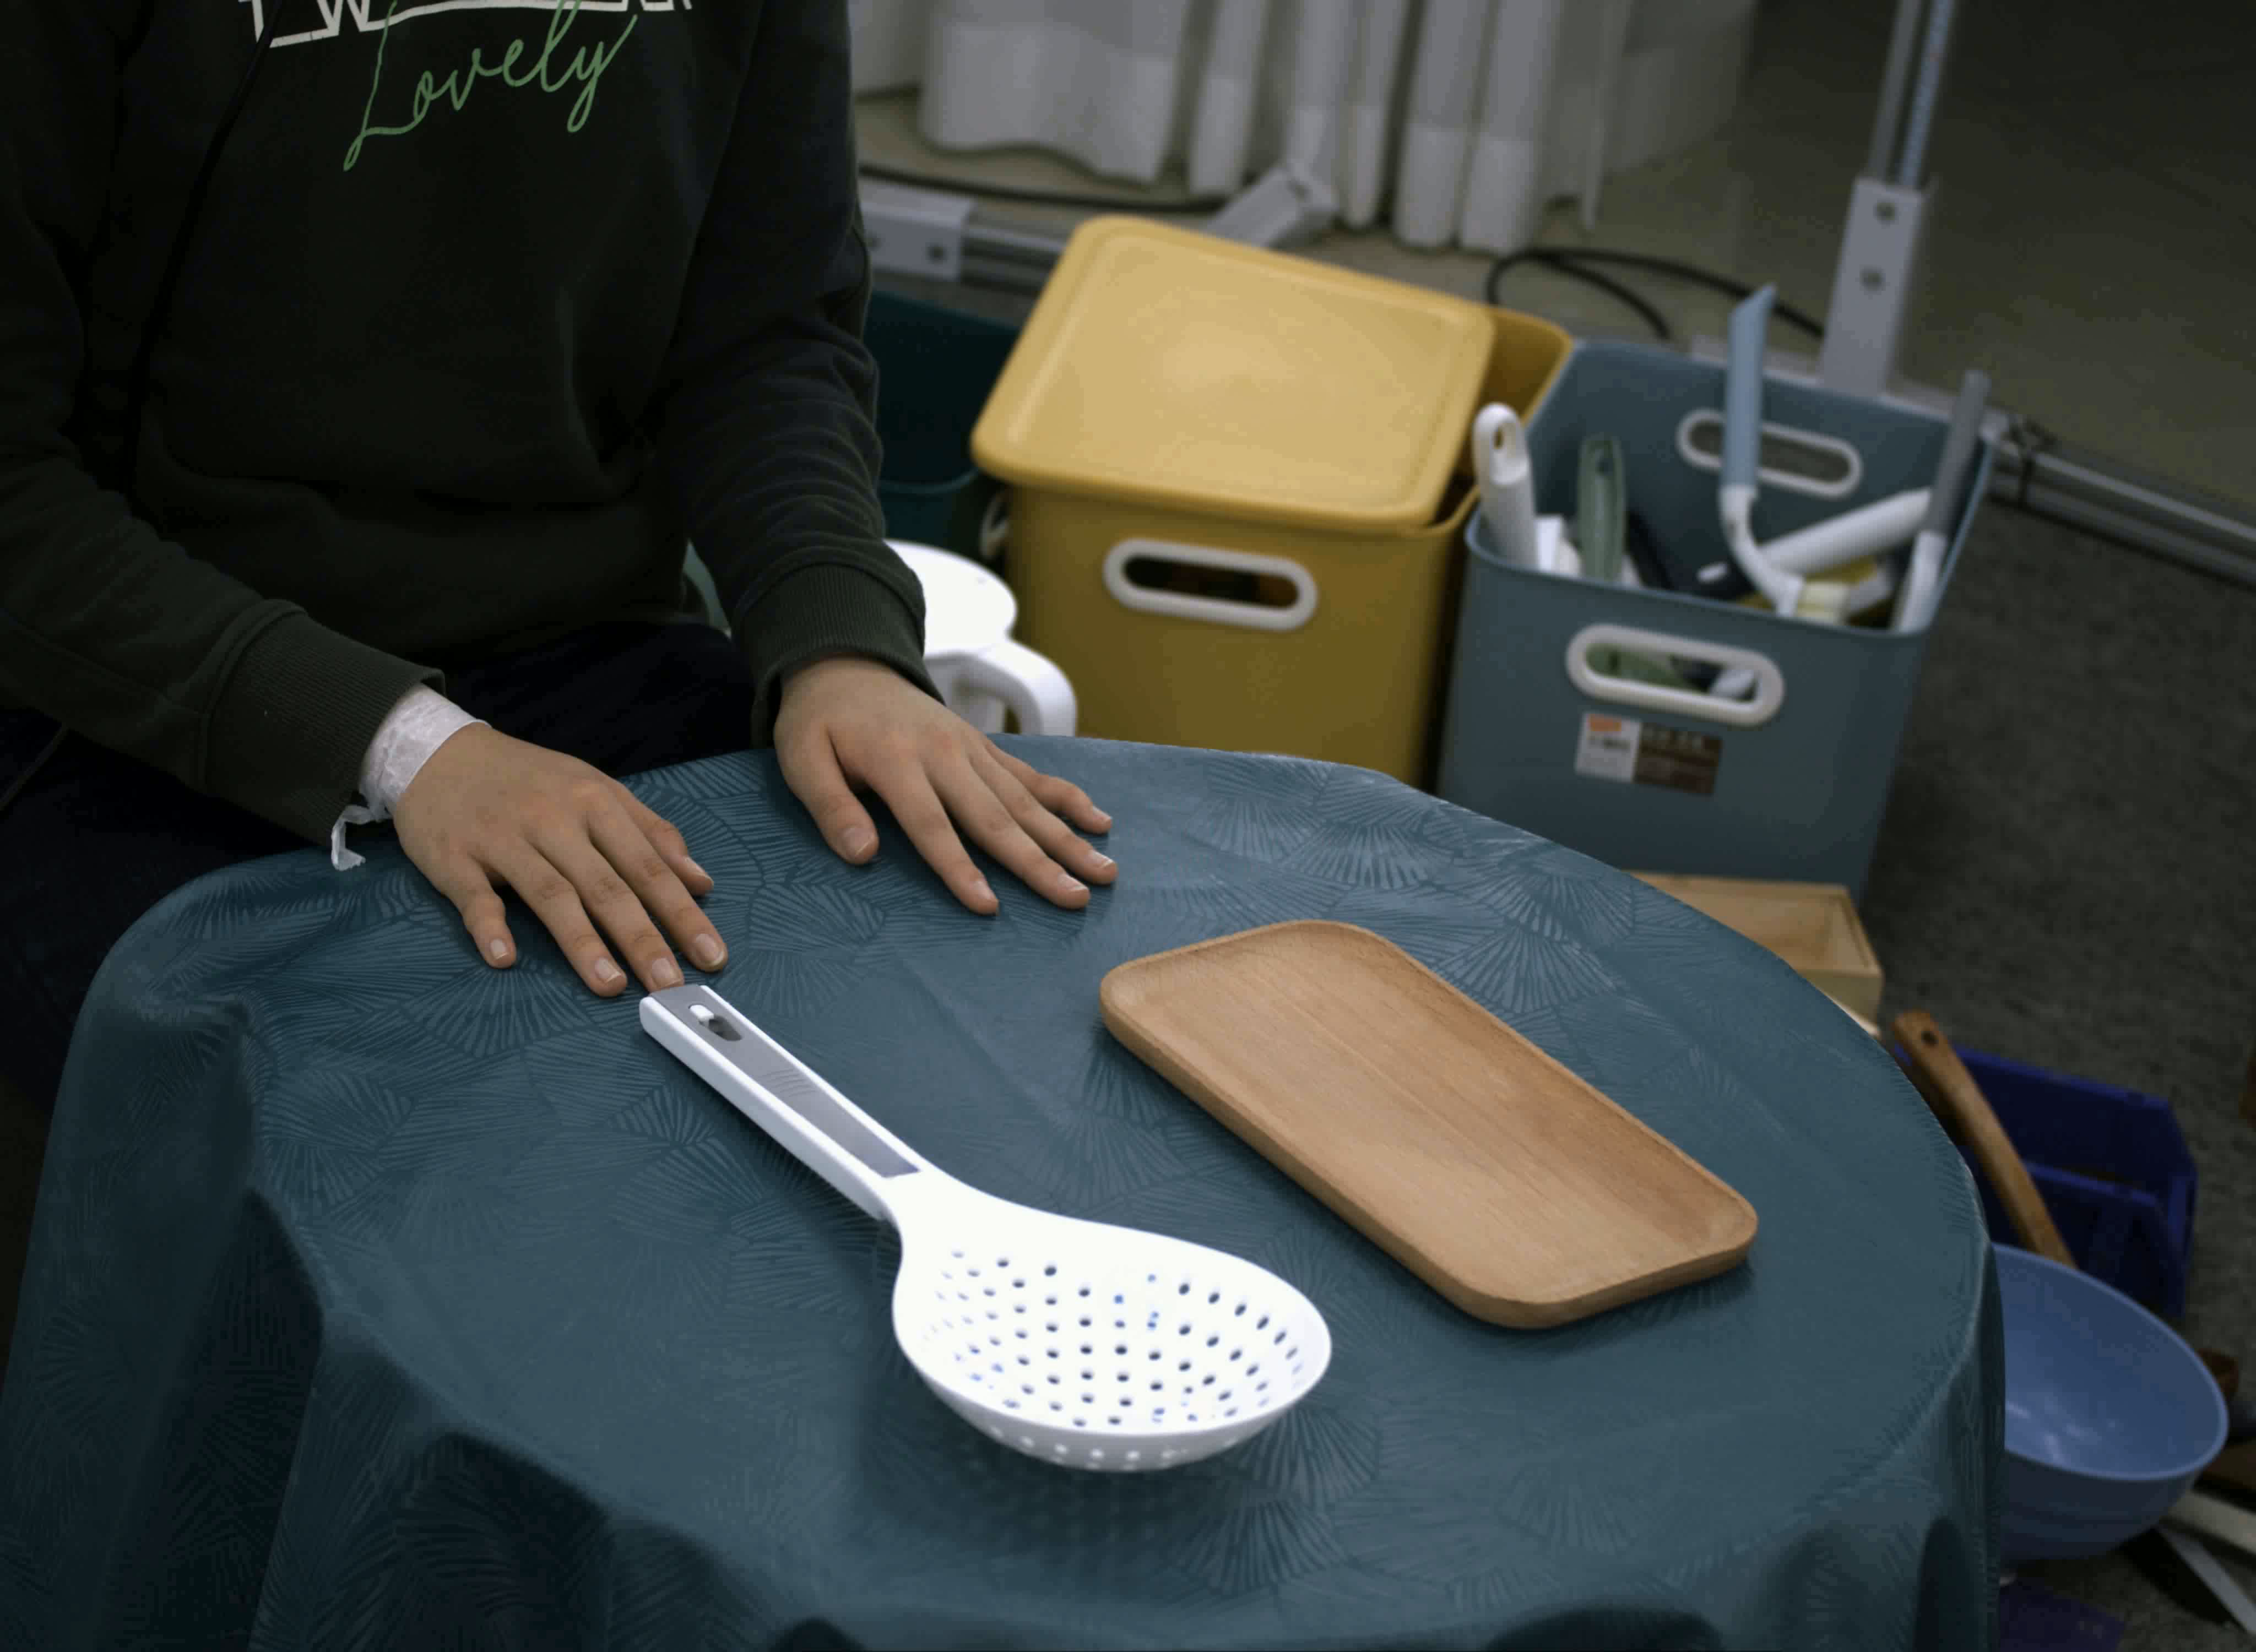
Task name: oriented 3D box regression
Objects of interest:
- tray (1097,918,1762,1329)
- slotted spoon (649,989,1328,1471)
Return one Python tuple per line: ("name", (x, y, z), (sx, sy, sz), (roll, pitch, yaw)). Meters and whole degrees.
("tray", (0.101, 0.101, 1.850), (0.130, 0.023, 0.253), (-11, 30, -34))
("slotted spoon", (-0.065, 0.125, 1.733), (0.135, 0.045, 0.353), (-9, 29, -32))
